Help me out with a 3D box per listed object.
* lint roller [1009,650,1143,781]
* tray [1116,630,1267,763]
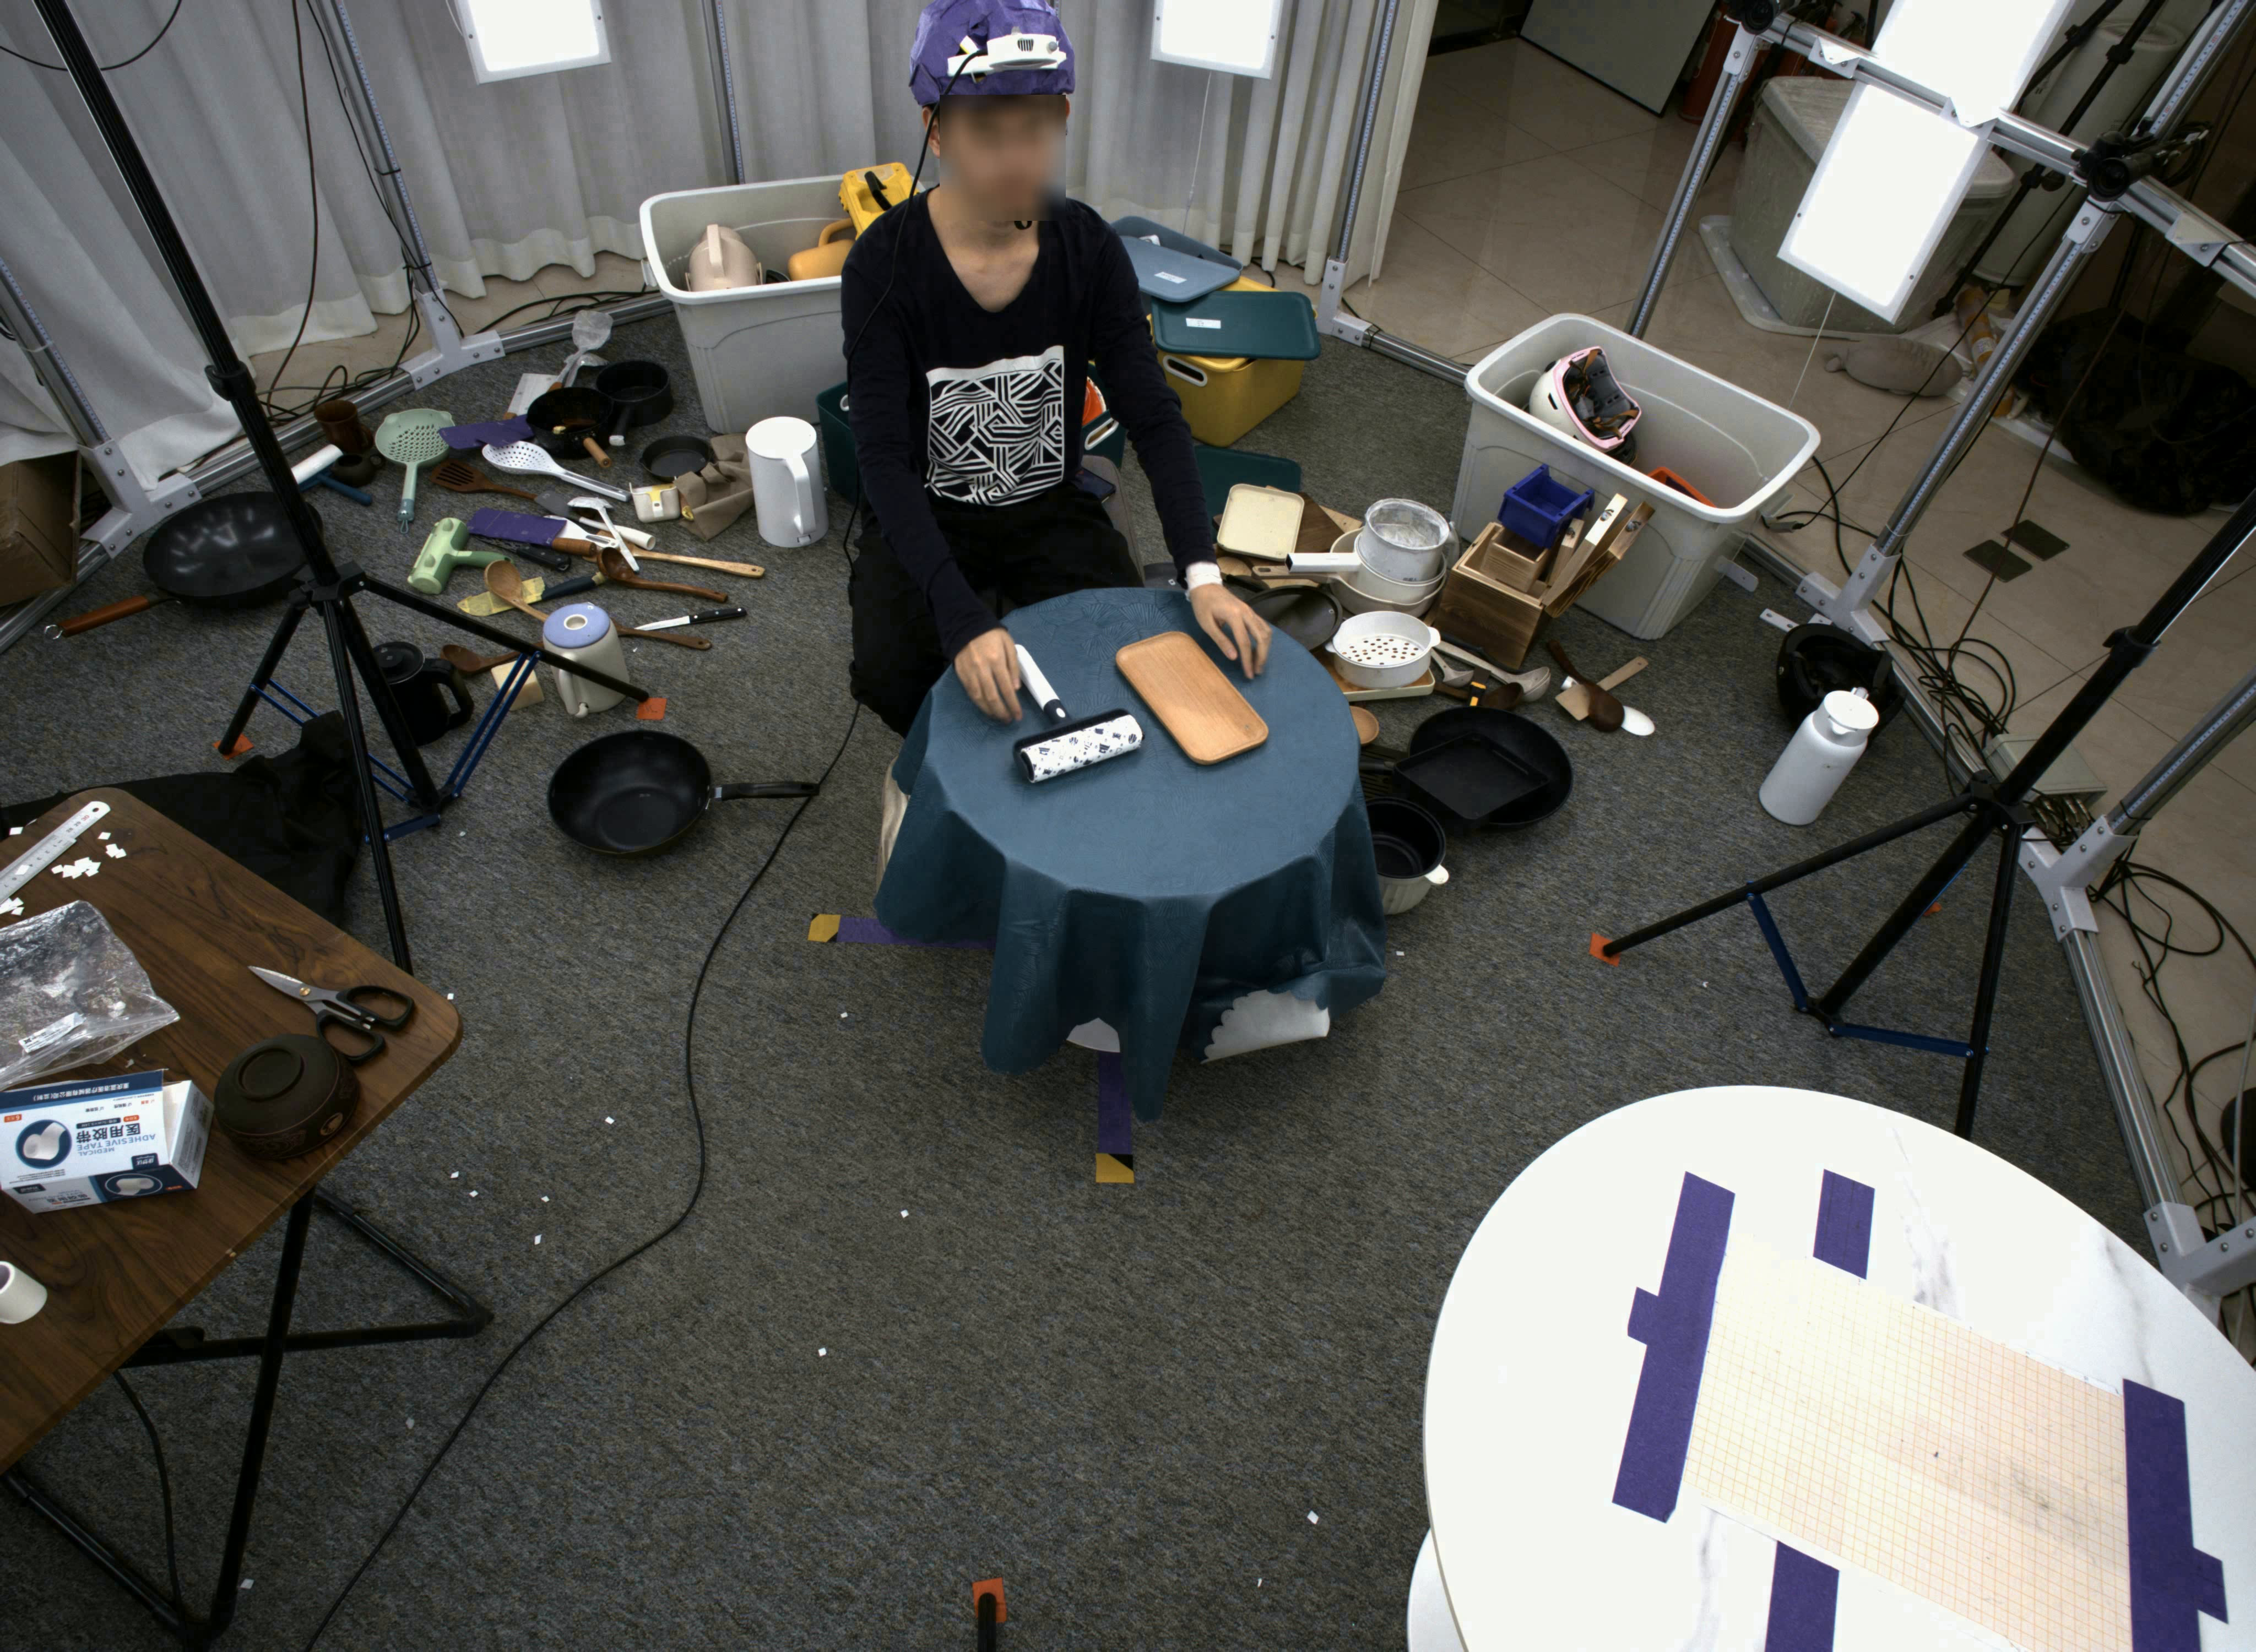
[{"bbox_3d":[-0.110,-0.173,1.784,0.176,0.049,0.252,-20,51,-19],"label":"lint roller"},{"bbox_3d":[0.087,-0.187,1.825,0.131,0.022,0.256,-18,52,-22],"label":"tray"}]
